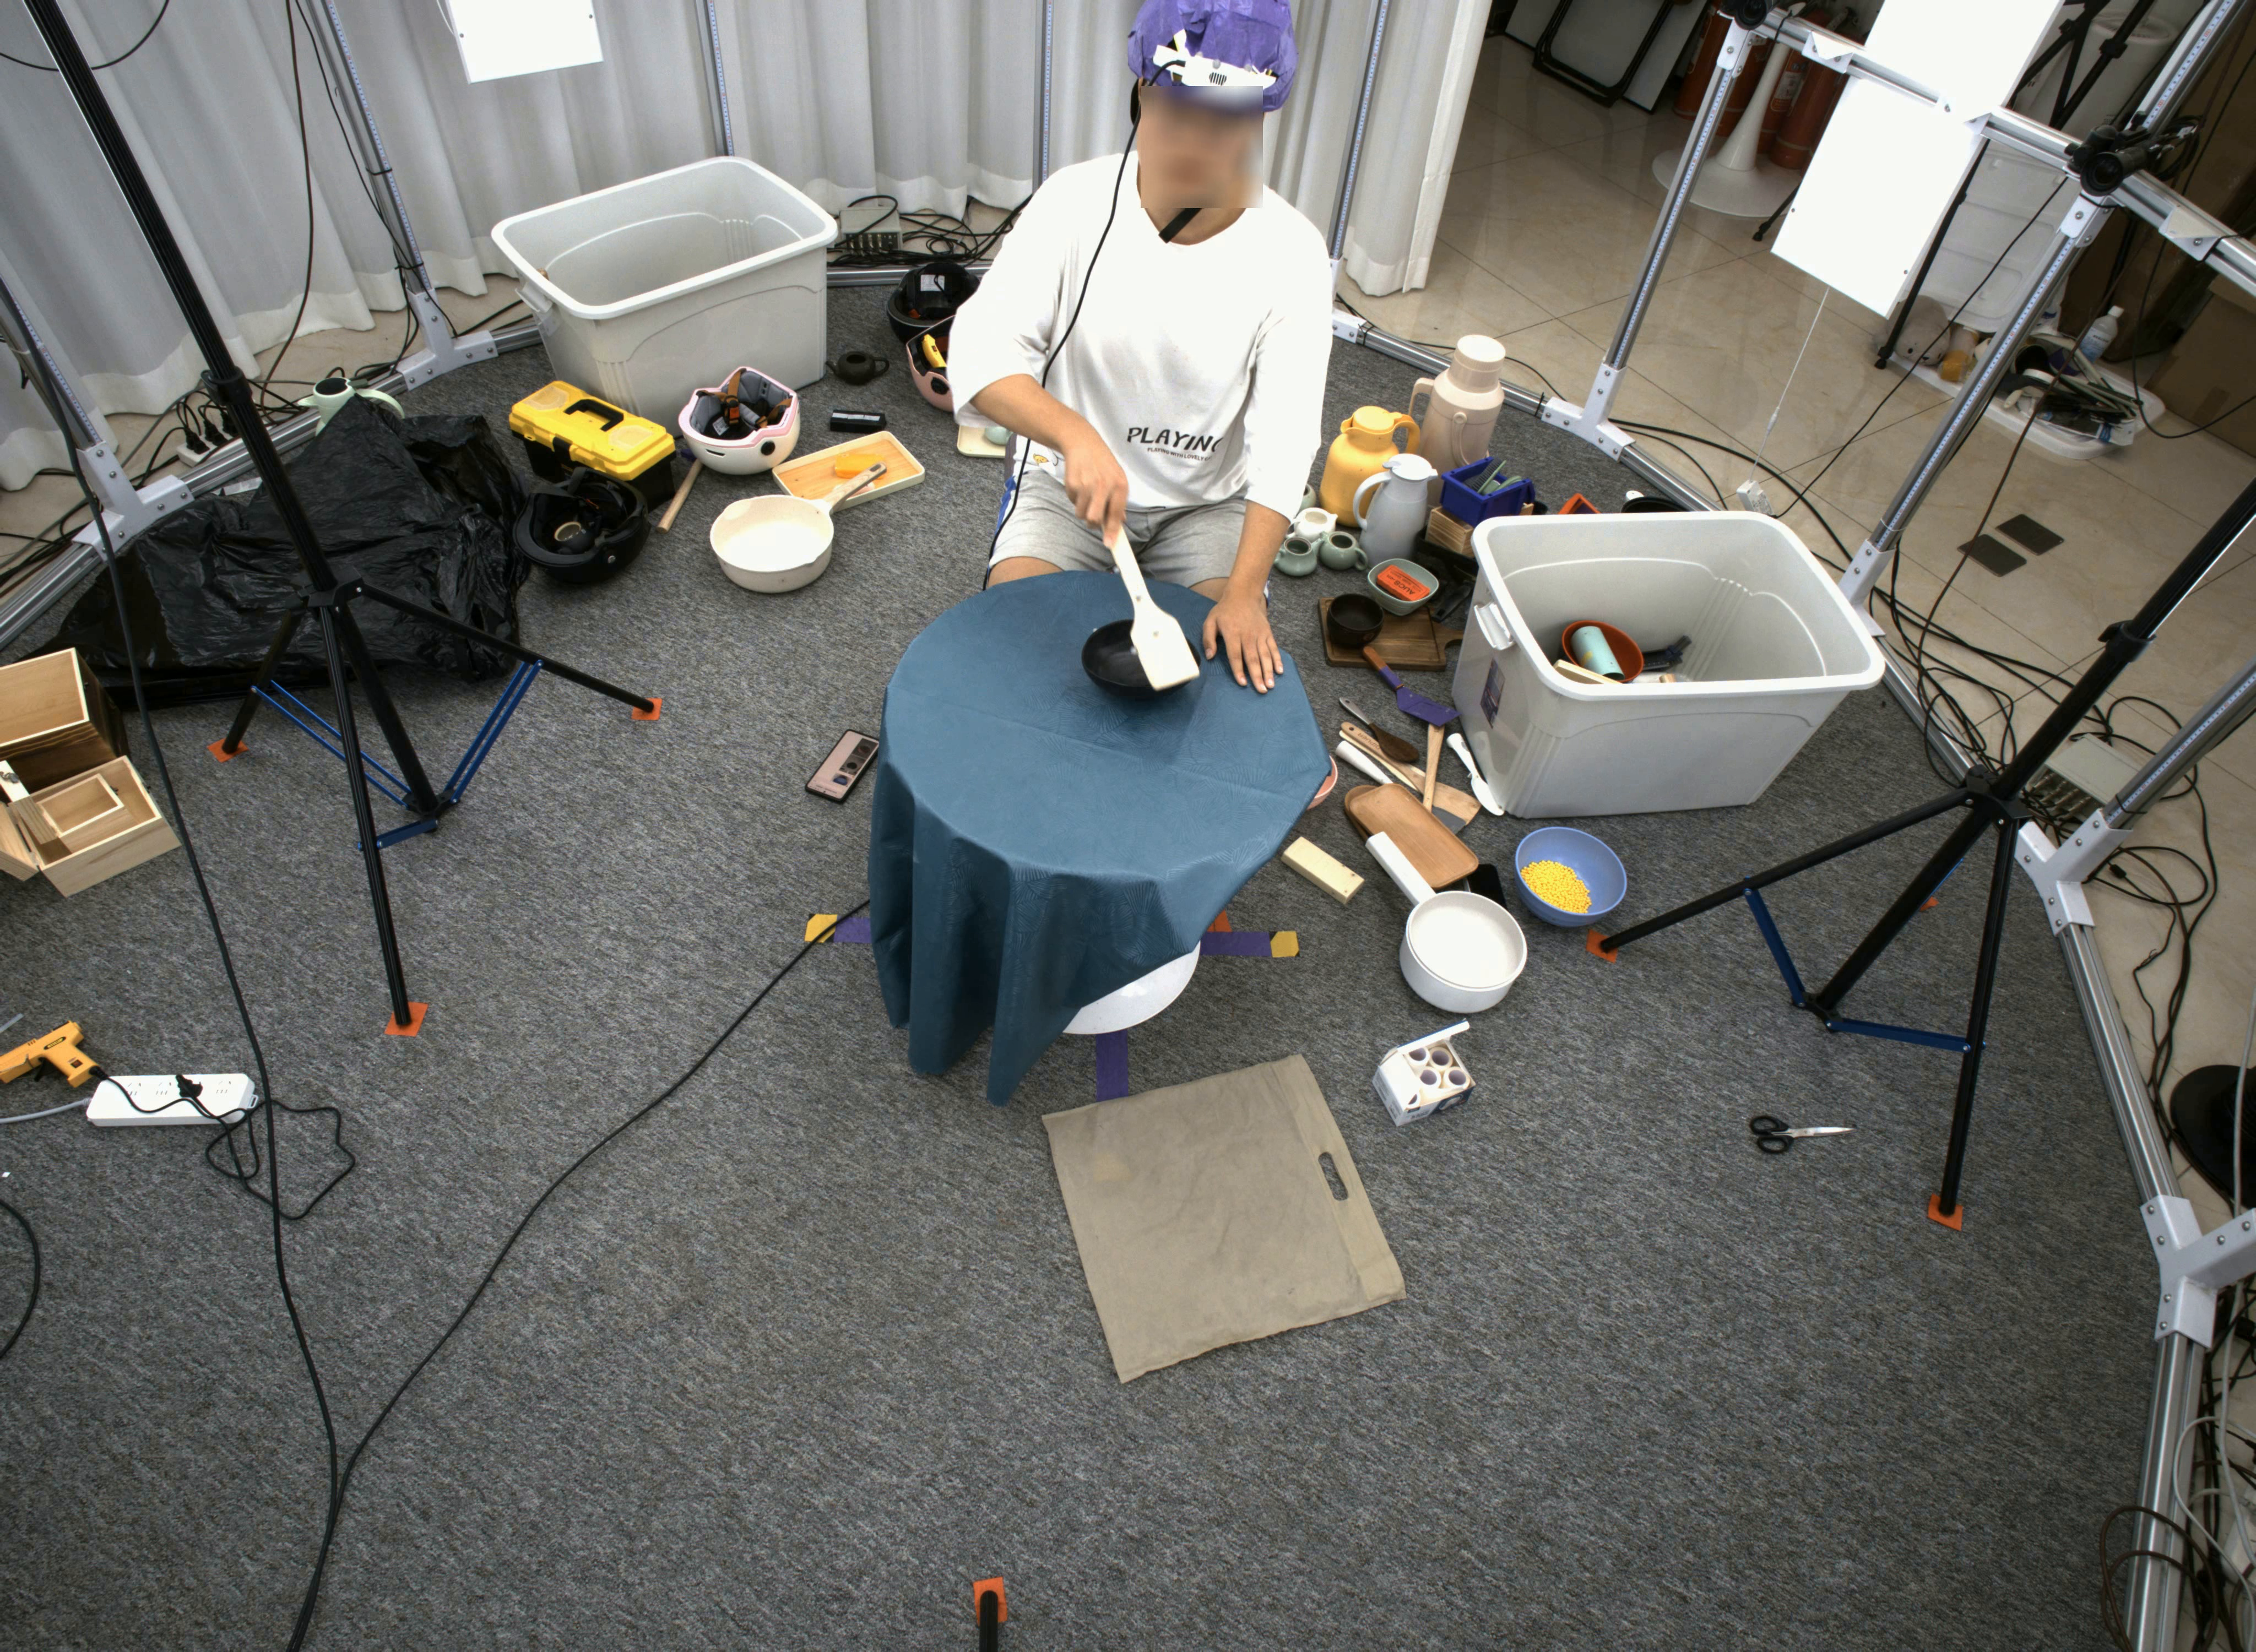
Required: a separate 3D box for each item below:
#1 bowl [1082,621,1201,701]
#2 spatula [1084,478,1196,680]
[{"bbox_3d":[0.017,-0.224,1.821,0.170,0.065,0.141,-3,50,-9],"label":"bowl"},{"bbox_3d":[0.006,-0.336,1.734,0.072,0.010,0.295,-21,82,-16],"label":"spatula"}]
